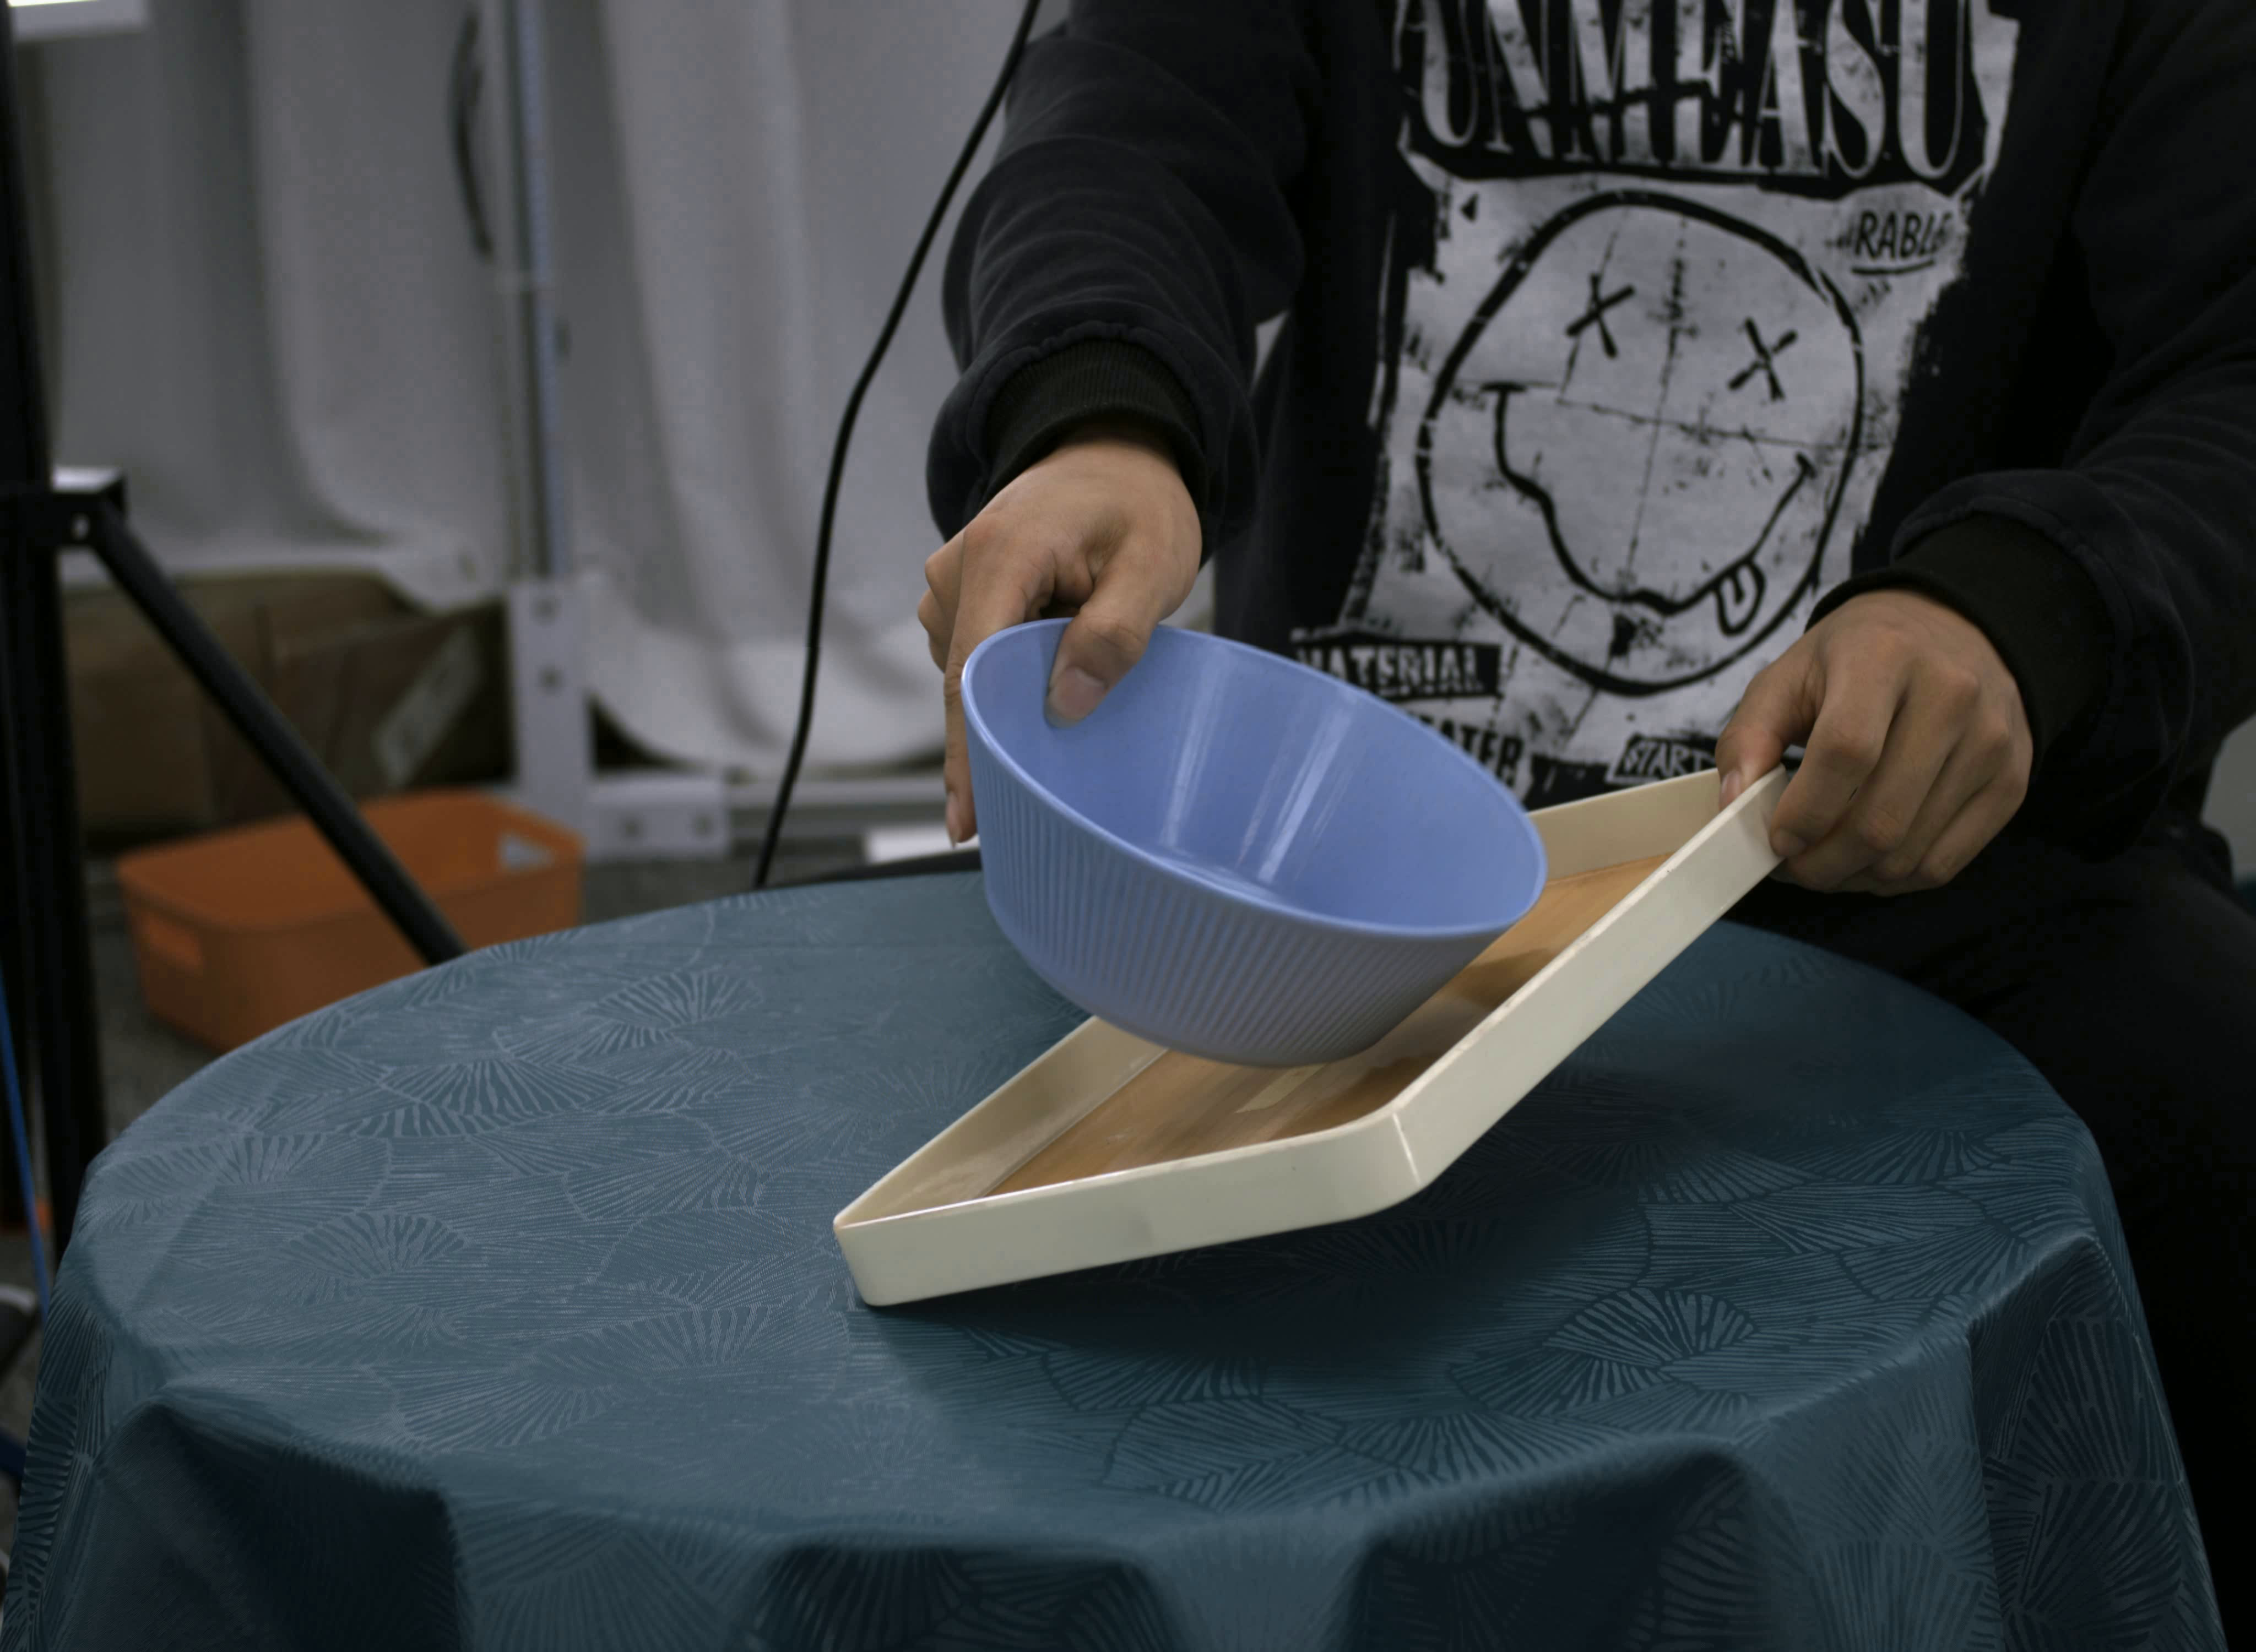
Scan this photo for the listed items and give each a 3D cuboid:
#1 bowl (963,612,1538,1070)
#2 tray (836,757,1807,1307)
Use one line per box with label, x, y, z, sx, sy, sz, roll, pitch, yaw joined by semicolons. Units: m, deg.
bowl;0.024;0.011;1.512;0.174;0.070;0.177;18;24;-10
tray;0.063;0.058;1.539;0.195;0.027;0.296;-14;13;34
